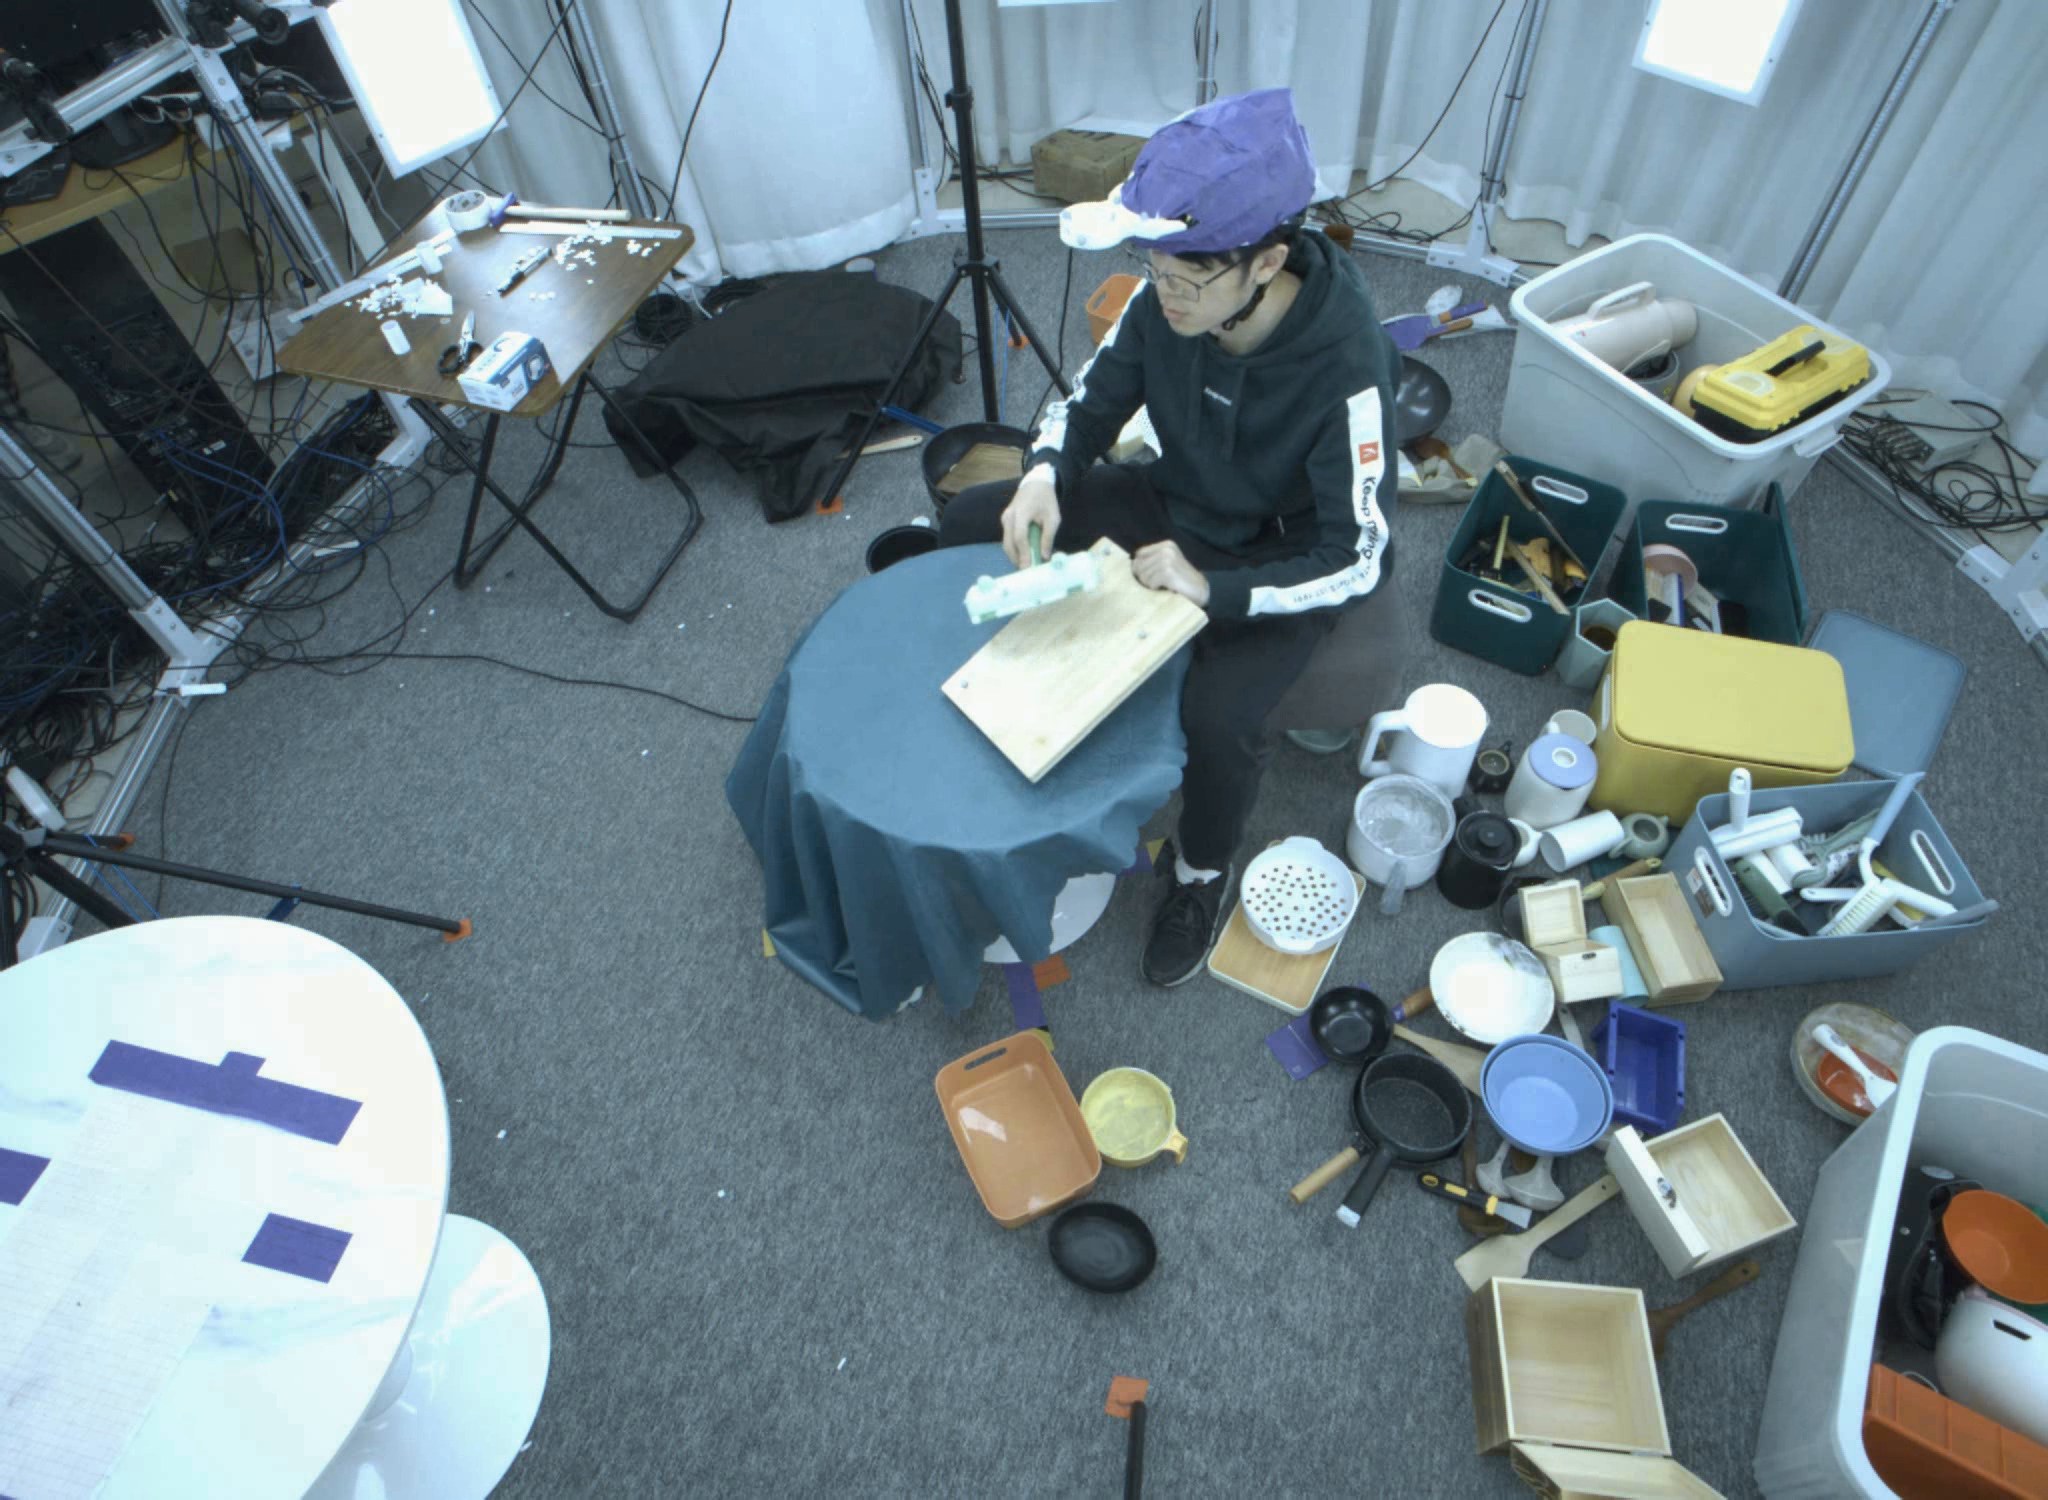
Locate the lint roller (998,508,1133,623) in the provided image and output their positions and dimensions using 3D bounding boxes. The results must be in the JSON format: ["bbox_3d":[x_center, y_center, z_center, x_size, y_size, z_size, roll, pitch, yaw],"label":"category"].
[{"bbox_3d":[0.052,-0.285,1.771,0.196,0.084,0.182,-13,67,21],"label":"lint roller"}]

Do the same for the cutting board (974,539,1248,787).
[{"bbox_3d":[0.116,-0.133,1.778,0.349,0.024,0.245,-42,54,-3],"label":"cutting board"}]
